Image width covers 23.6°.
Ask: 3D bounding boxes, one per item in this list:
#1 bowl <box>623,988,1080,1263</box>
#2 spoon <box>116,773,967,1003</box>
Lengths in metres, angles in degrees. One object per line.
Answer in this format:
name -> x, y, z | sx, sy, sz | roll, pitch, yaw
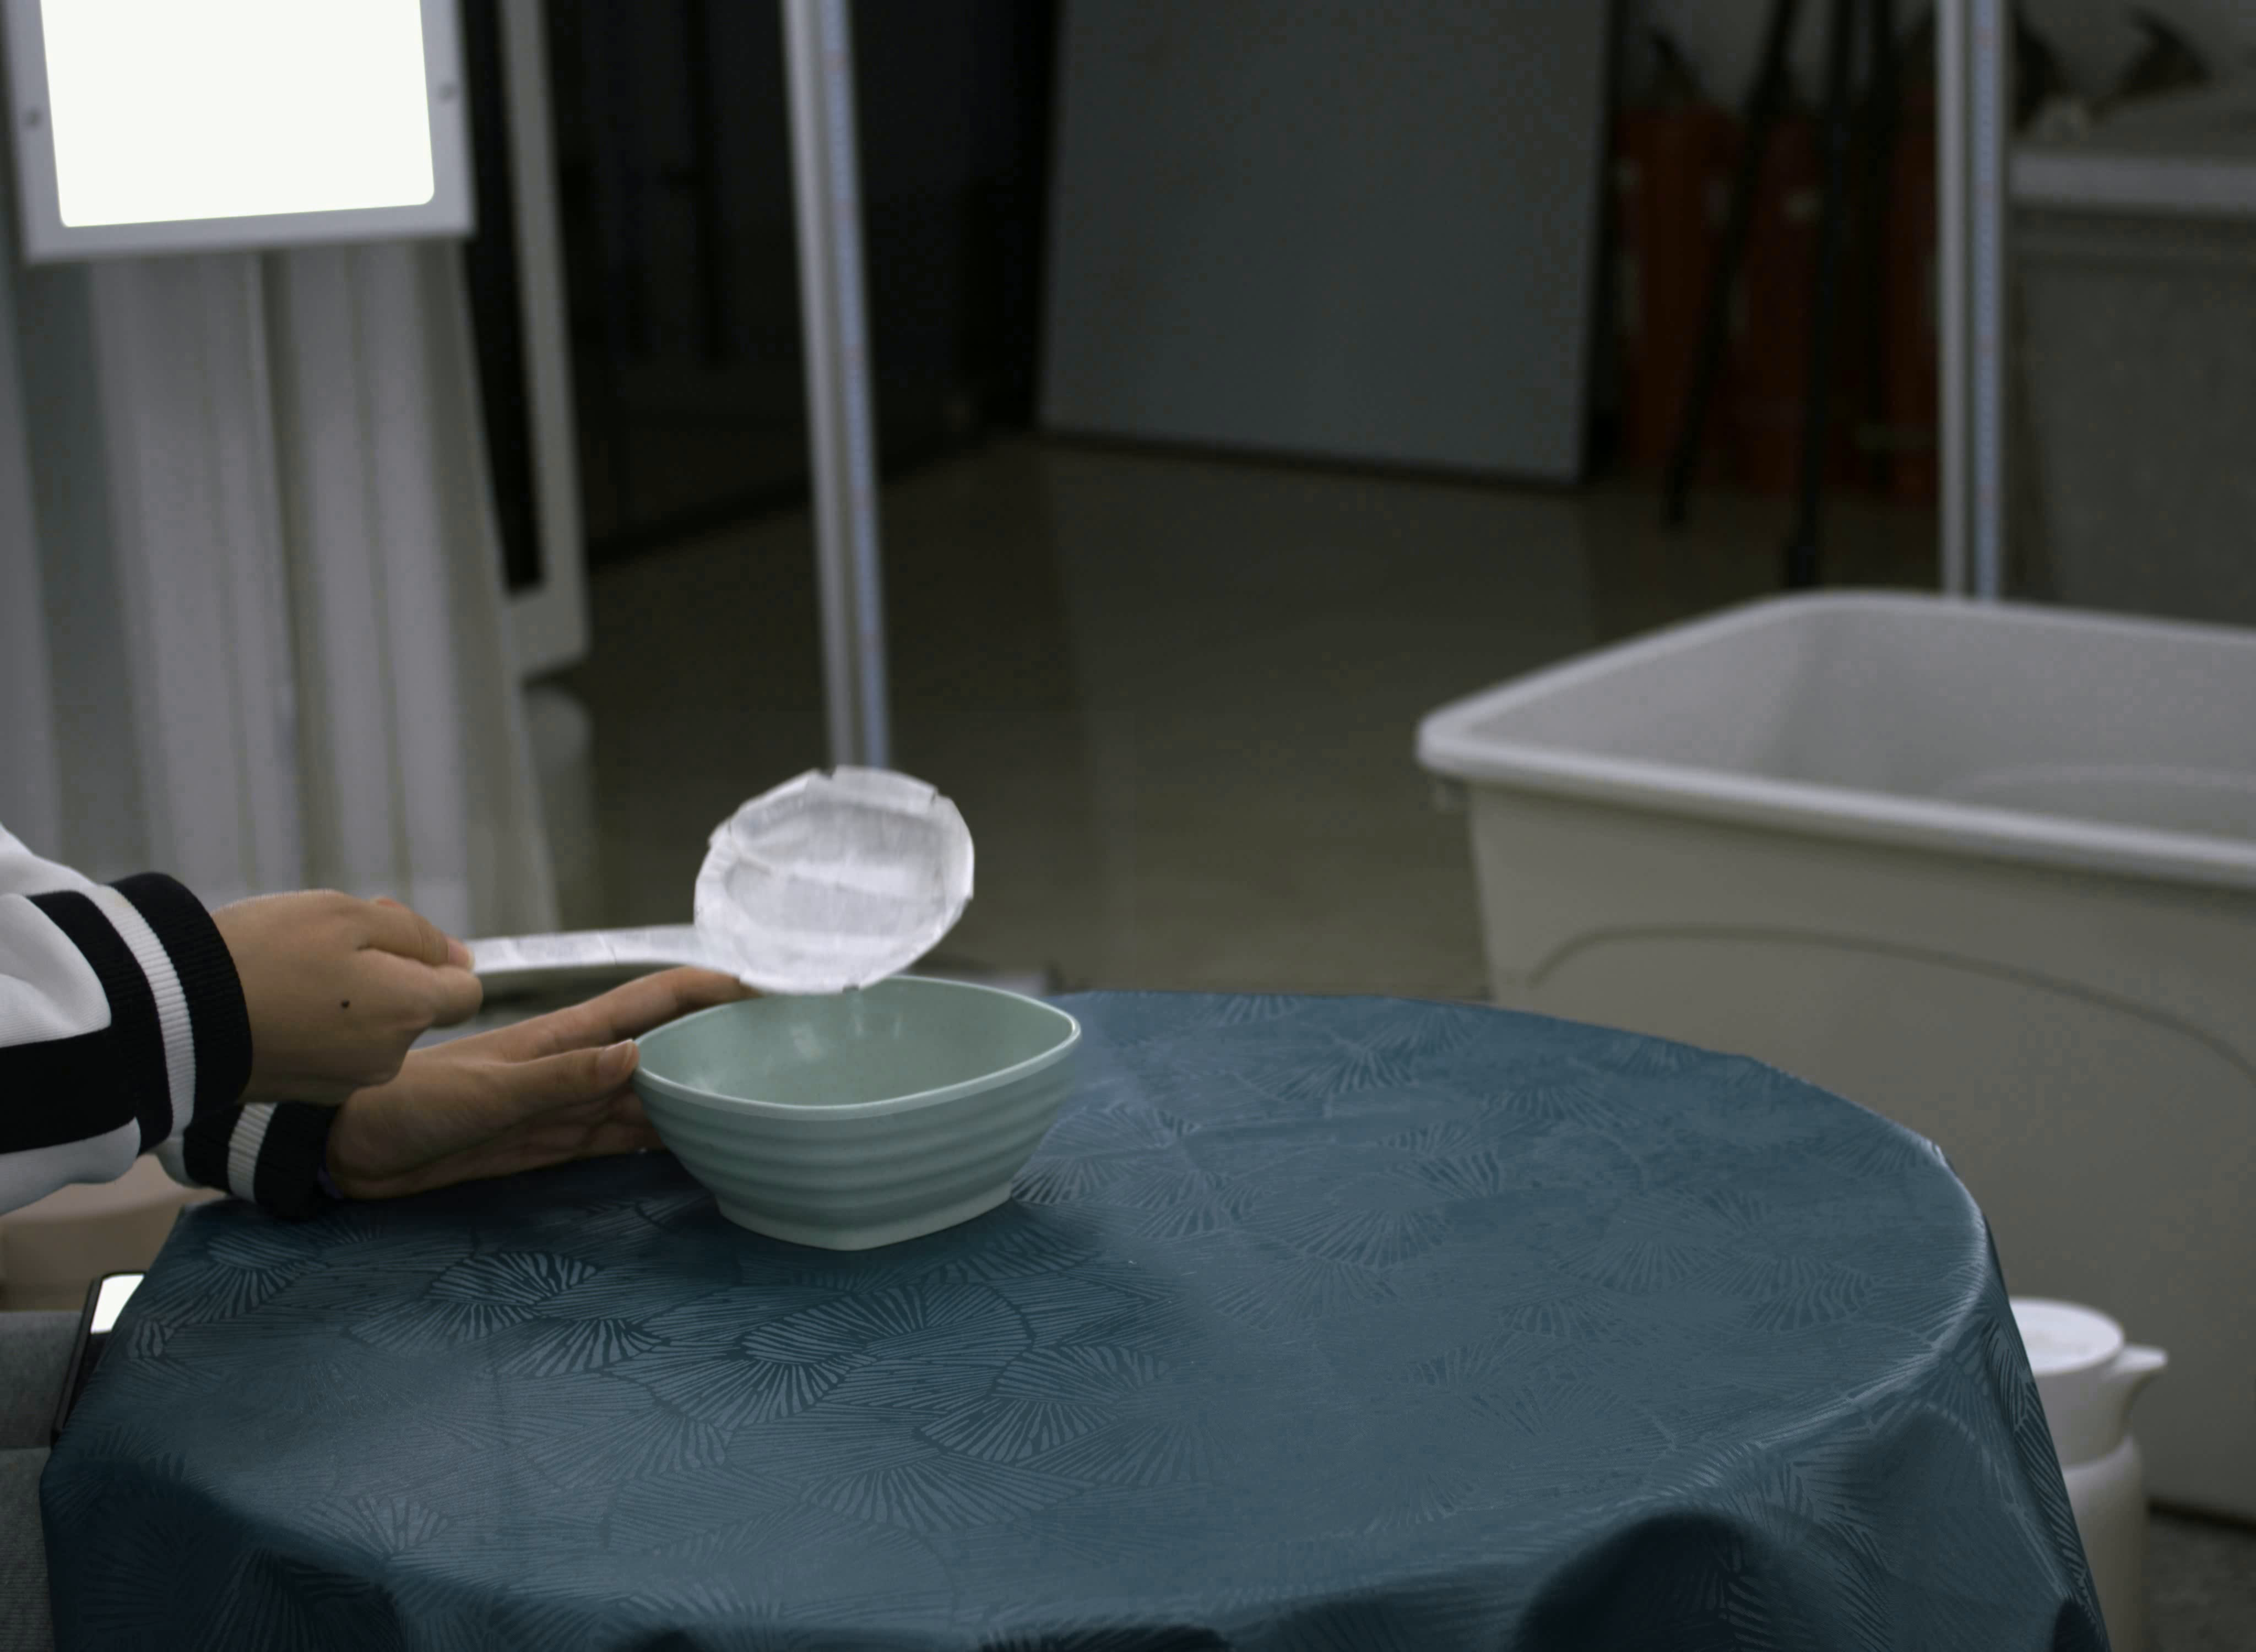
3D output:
bowl -> -0.089, 0.101, 1.769 | 0.149, 0.059, 0.151 | -4, 13, 0
spoon -> -0.182, 0.017, 1.702 | 0.271, 0.060, 0.102 | 1, 34, -30
